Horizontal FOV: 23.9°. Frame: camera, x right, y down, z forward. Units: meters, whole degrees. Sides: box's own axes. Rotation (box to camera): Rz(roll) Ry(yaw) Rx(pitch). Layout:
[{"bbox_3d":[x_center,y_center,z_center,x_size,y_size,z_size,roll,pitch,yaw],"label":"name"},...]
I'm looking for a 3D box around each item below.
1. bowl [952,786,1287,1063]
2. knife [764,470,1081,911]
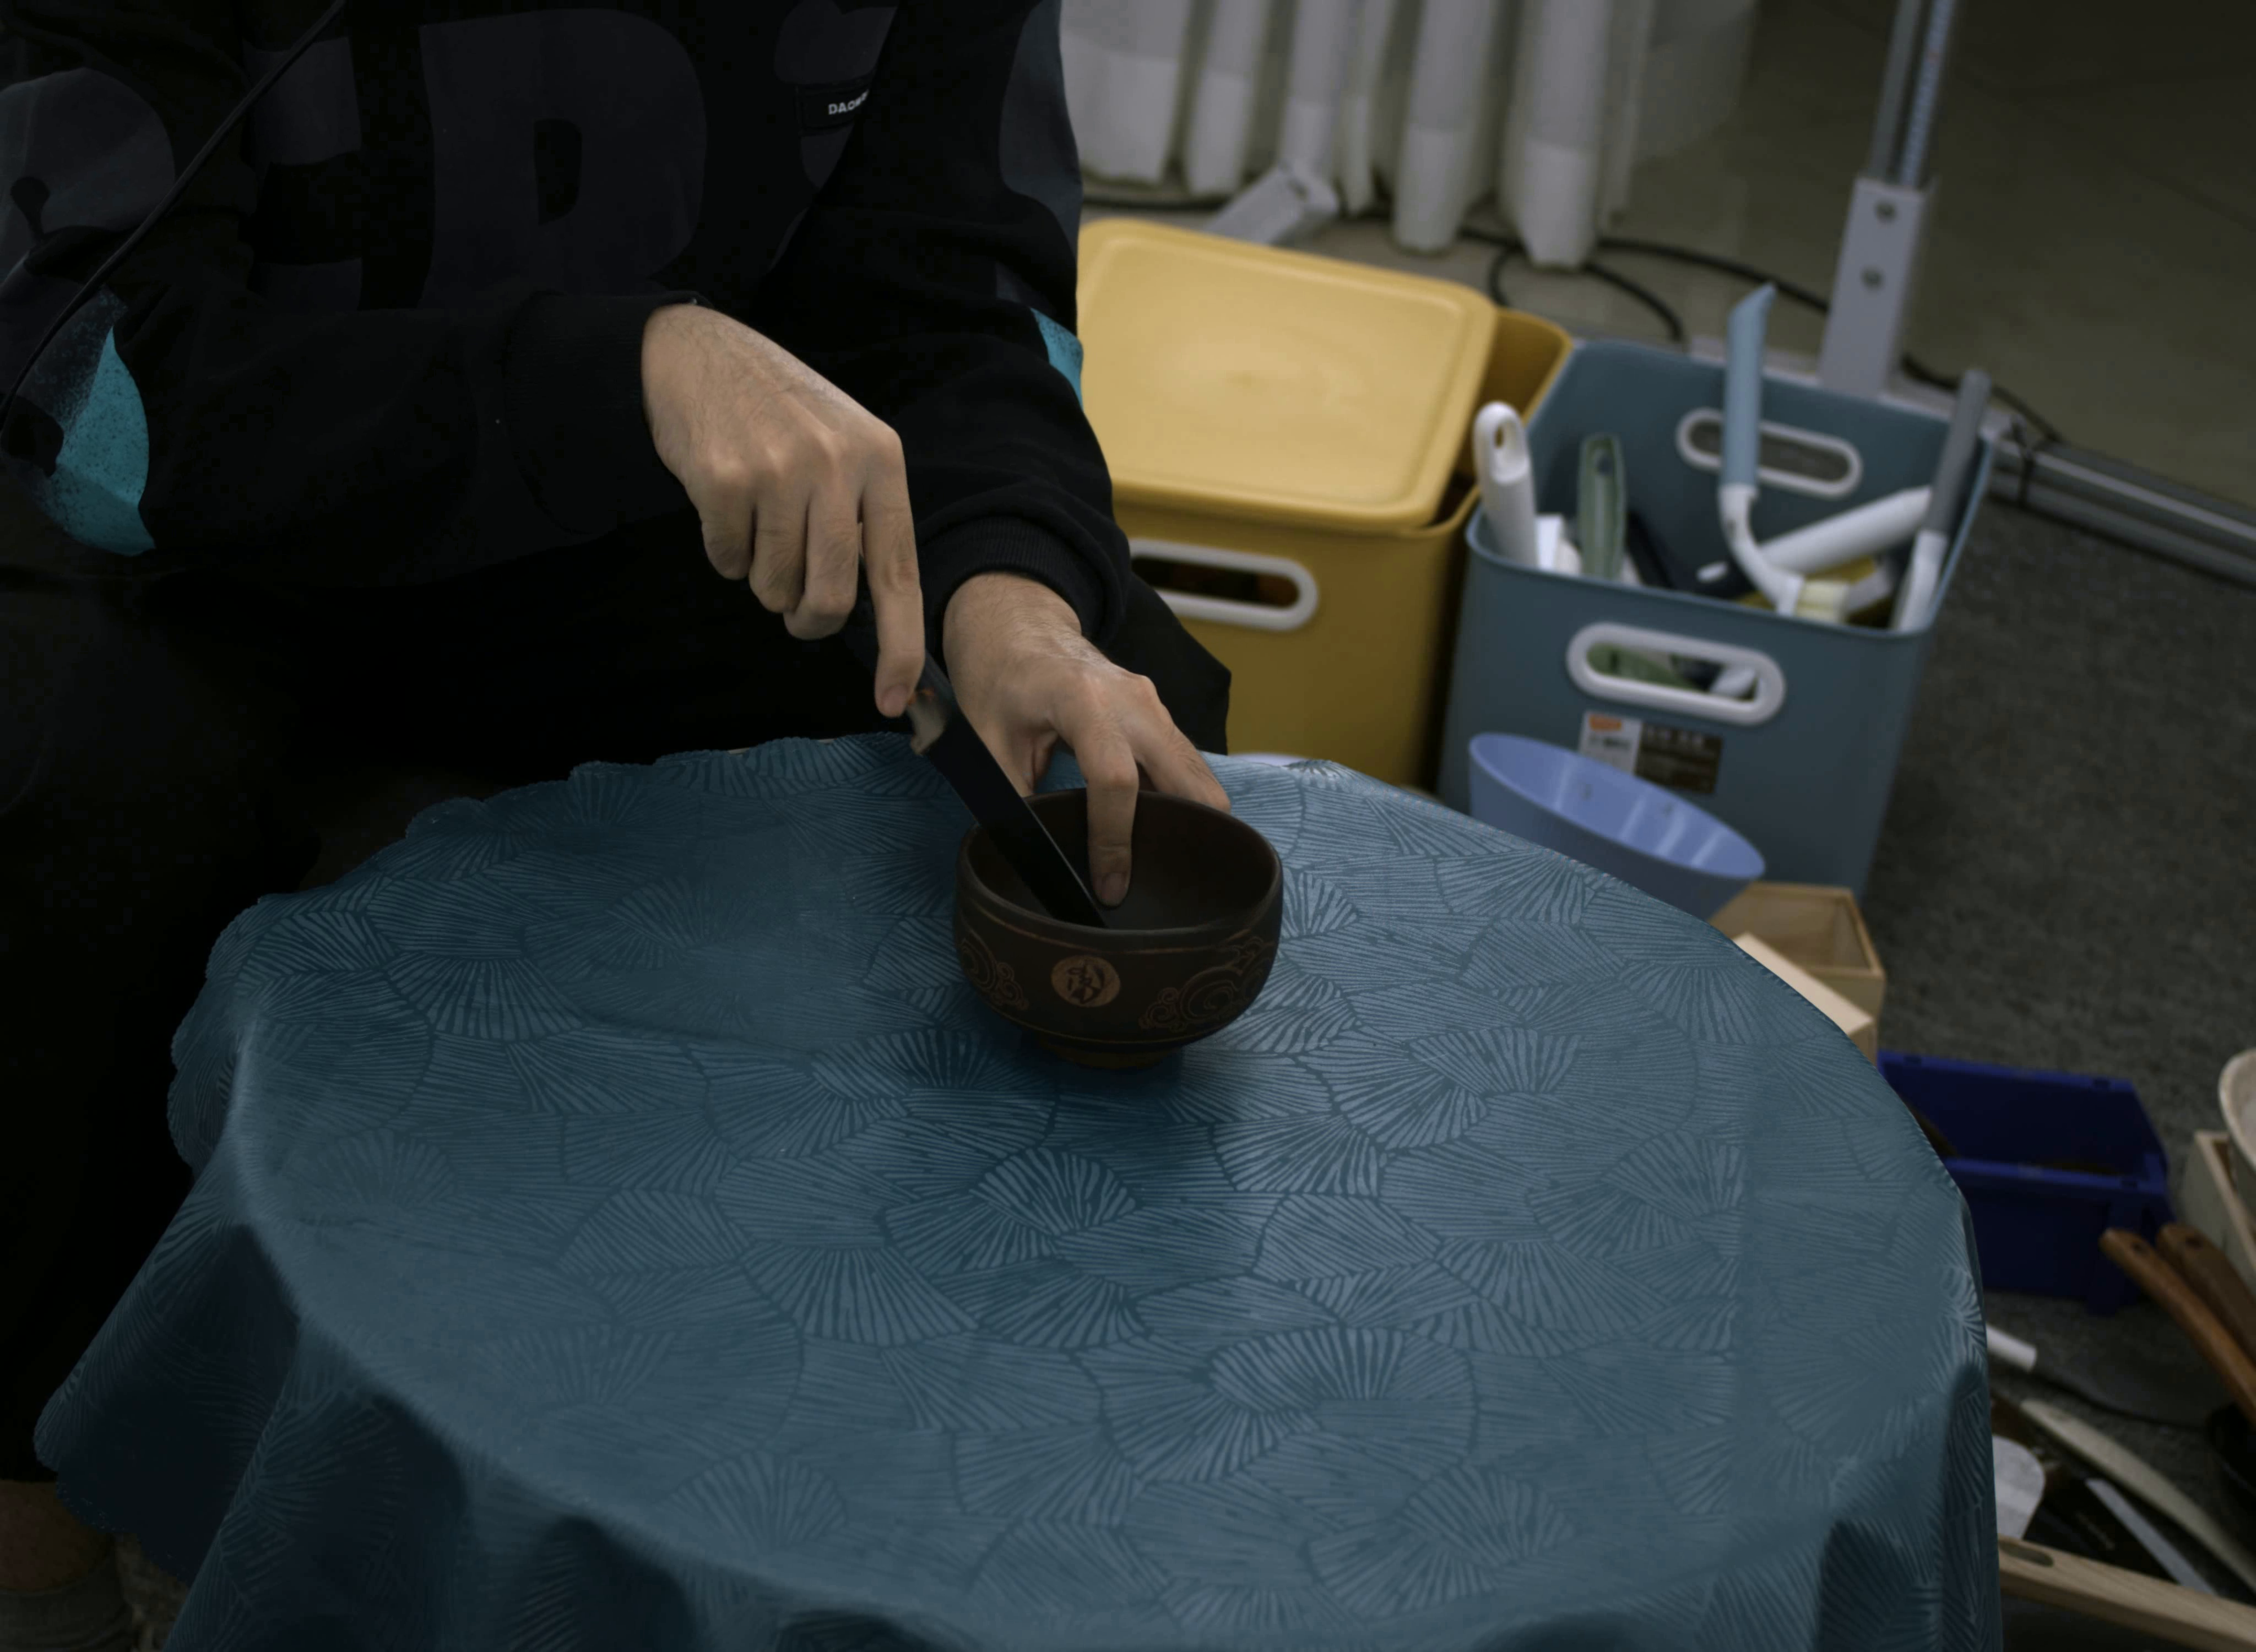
[{"bbox_3d":[-0.005,0.041,1.880,0.117,0.069,0.118,5,24,-3],"label":"bowl"},{"bbox_3d":[-0.061,-0.028,1.878,0.225,0.026,0.017,56,21,-1],"label":"knife"}]
